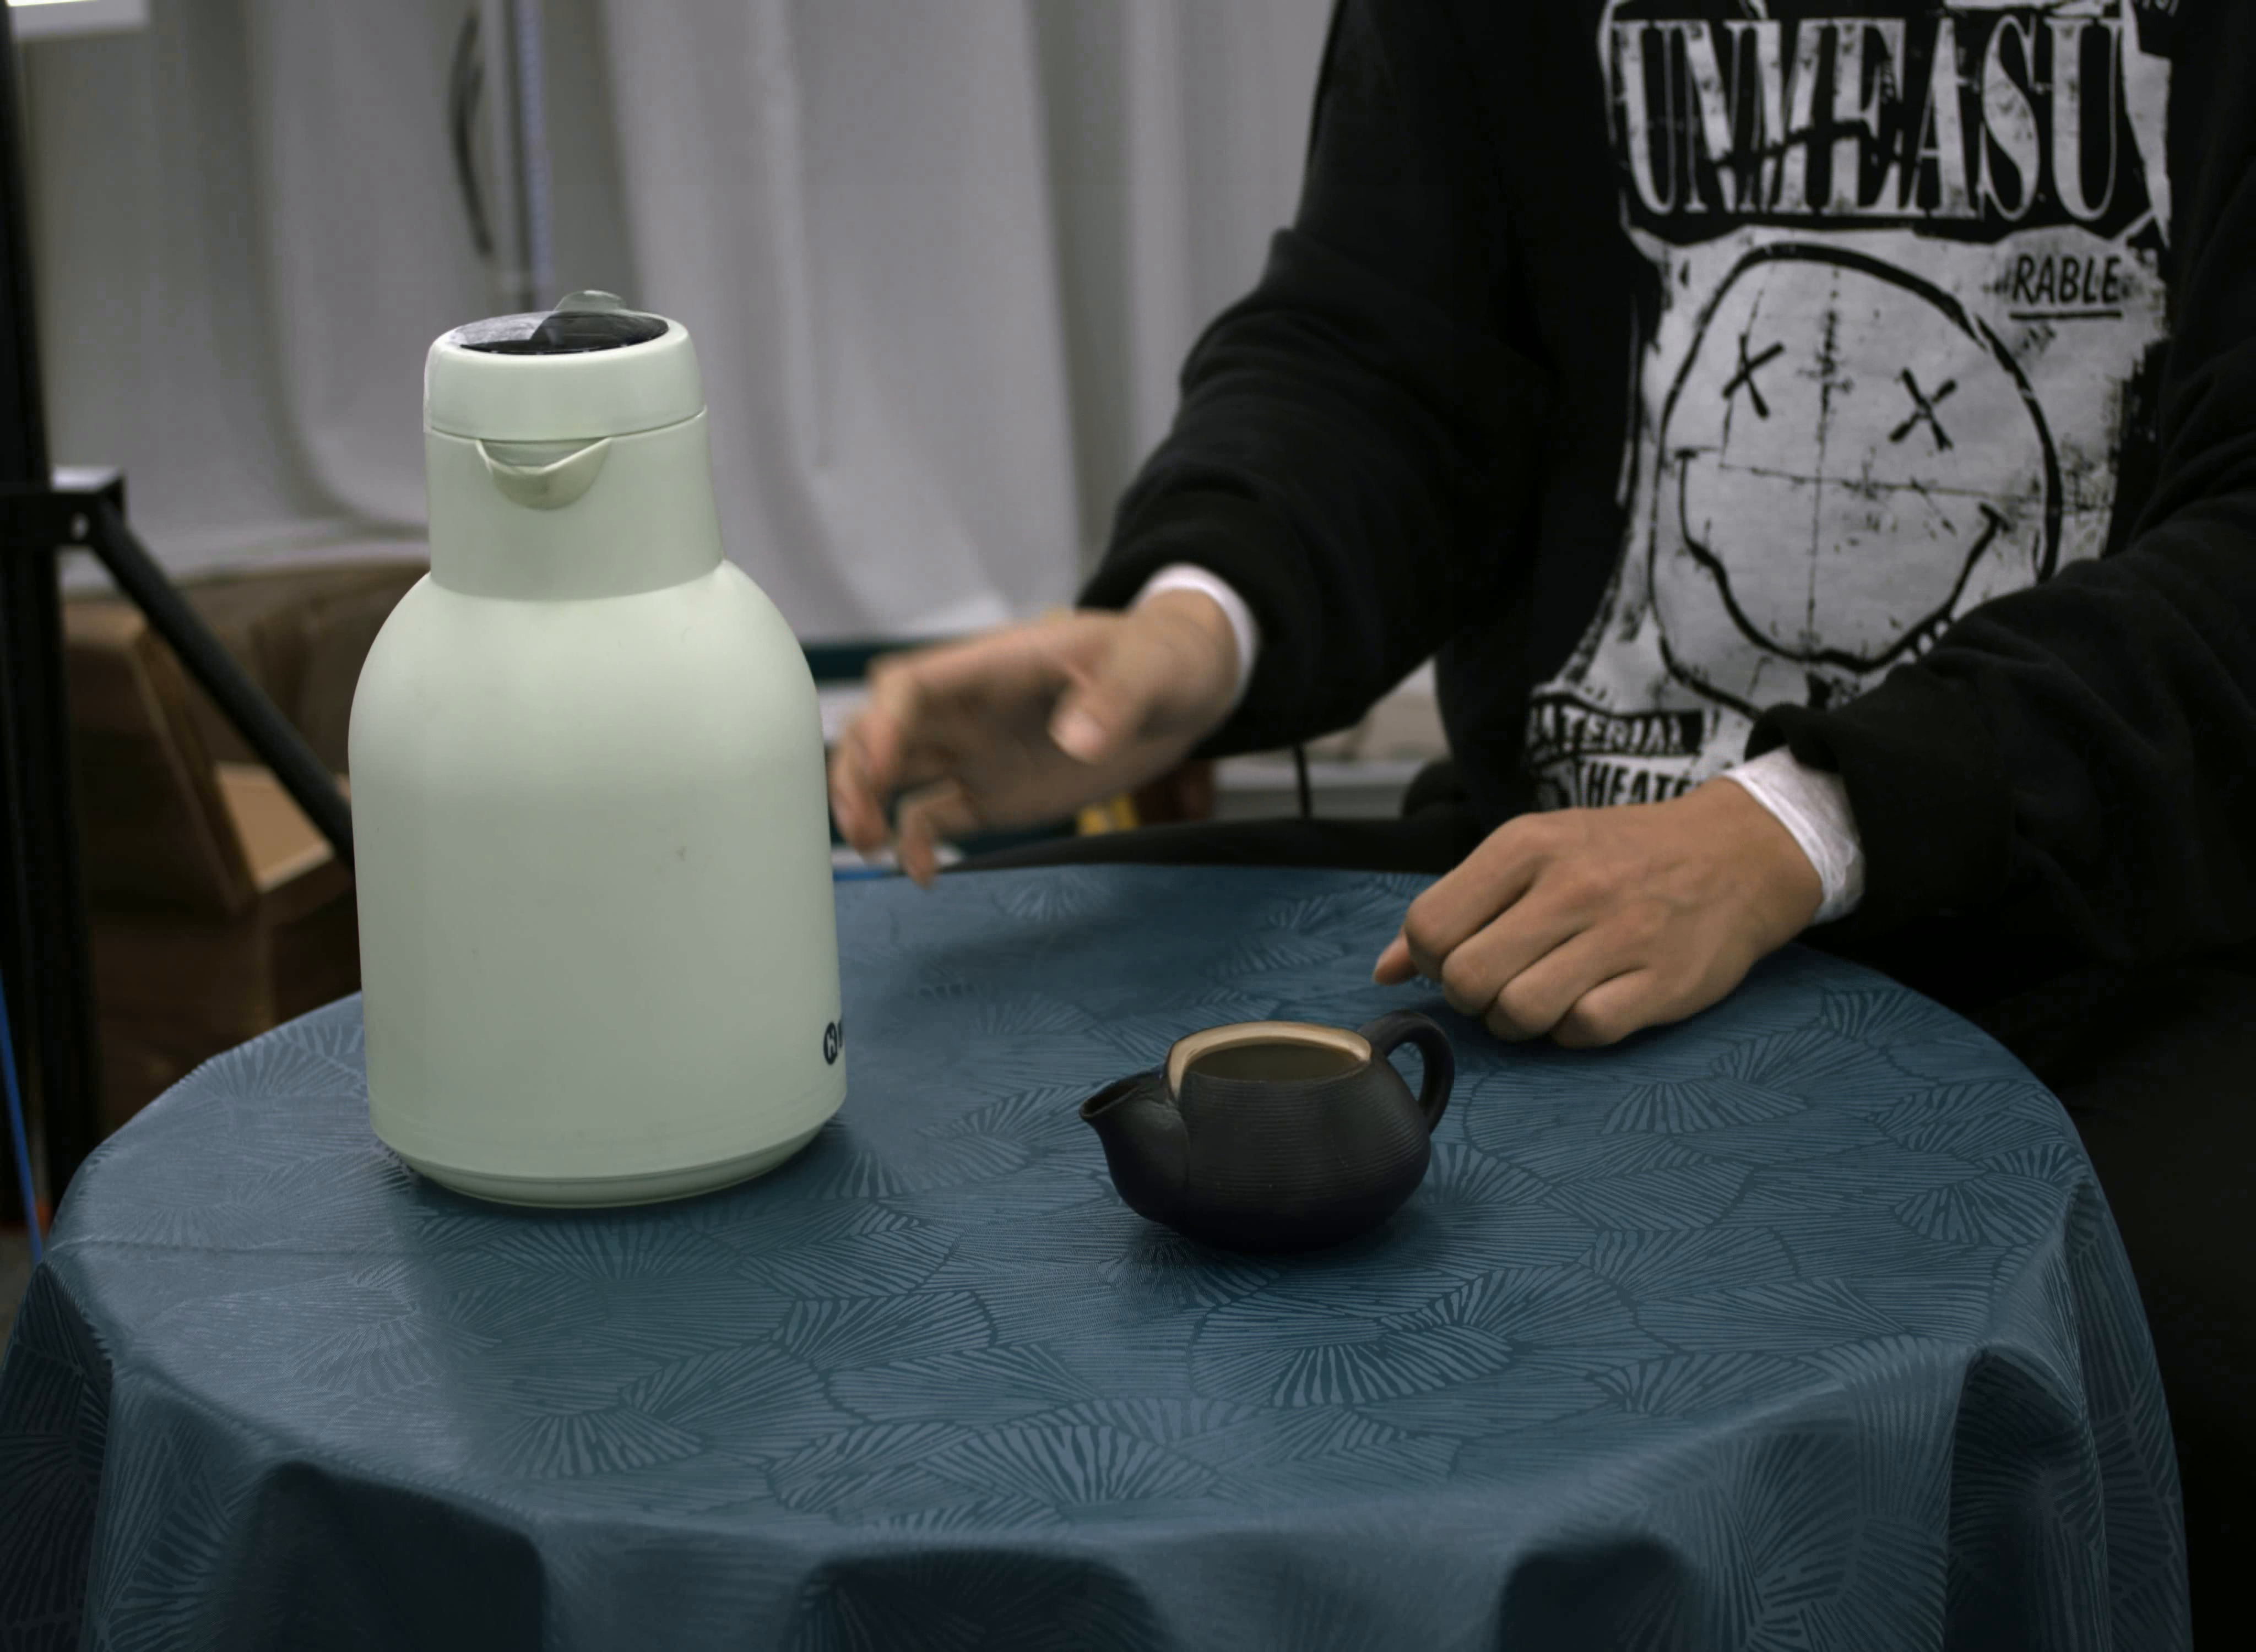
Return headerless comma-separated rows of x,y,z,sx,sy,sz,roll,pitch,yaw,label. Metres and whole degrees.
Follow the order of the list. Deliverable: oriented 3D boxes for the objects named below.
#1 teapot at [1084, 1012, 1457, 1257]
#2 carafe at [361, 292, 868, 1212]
0.043,0.089,1.516,0.130,0.053,0.093,-14,21,-34,teapot
-0.156,-0.027,1.602,0.144,0.257,0.186,-3,11,6,carafe
